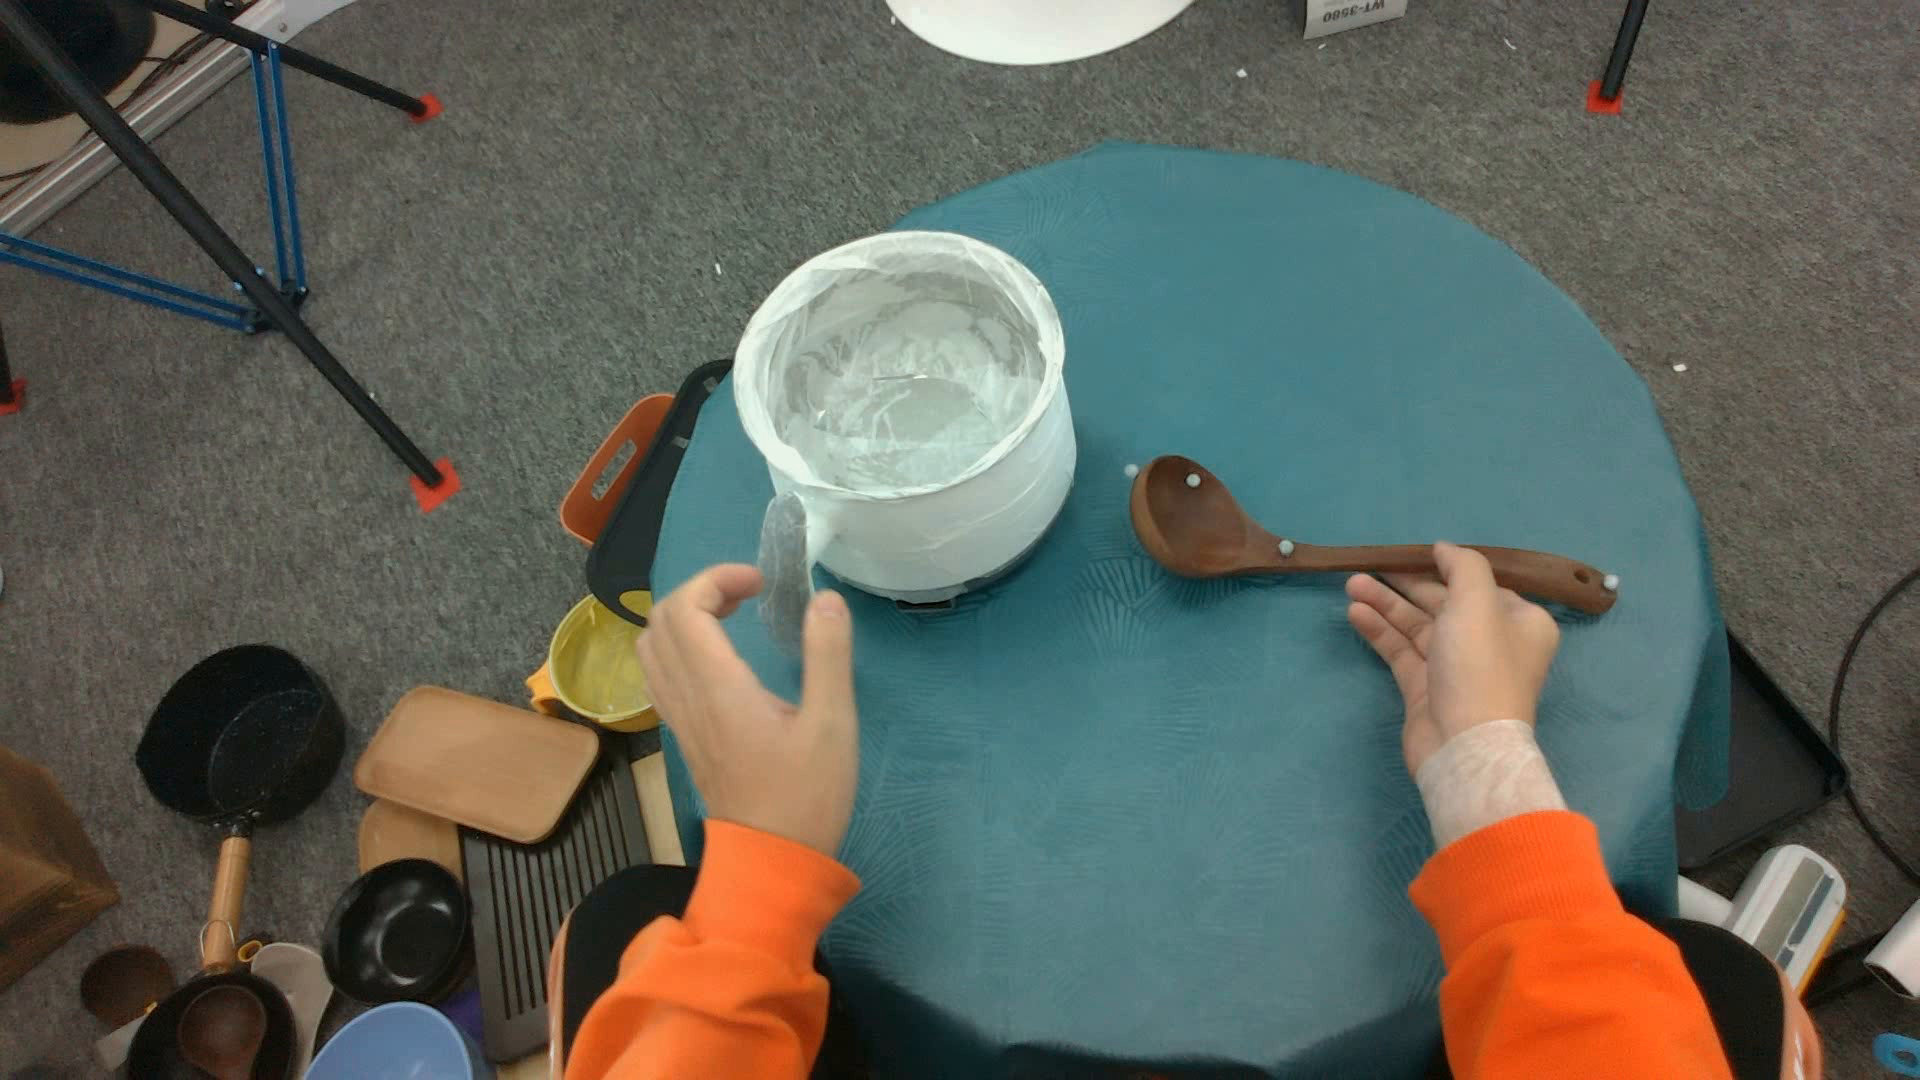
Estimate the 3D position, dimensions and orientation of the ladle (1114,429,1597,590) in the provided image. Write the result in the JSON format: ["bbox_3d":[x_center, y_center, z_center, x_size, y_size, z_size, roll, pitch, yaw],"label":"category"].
[{"bbox_3d":[0.213,-0.013,0.748,0.260,0.065,0.077,7,54,13],"label":"ladle"}]

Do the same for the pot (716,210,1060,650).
[{"bbox_3d":[-0.048,-0.053,0.766,0.178,0.136,0.234,23,66,20],"label":"pot"}]
